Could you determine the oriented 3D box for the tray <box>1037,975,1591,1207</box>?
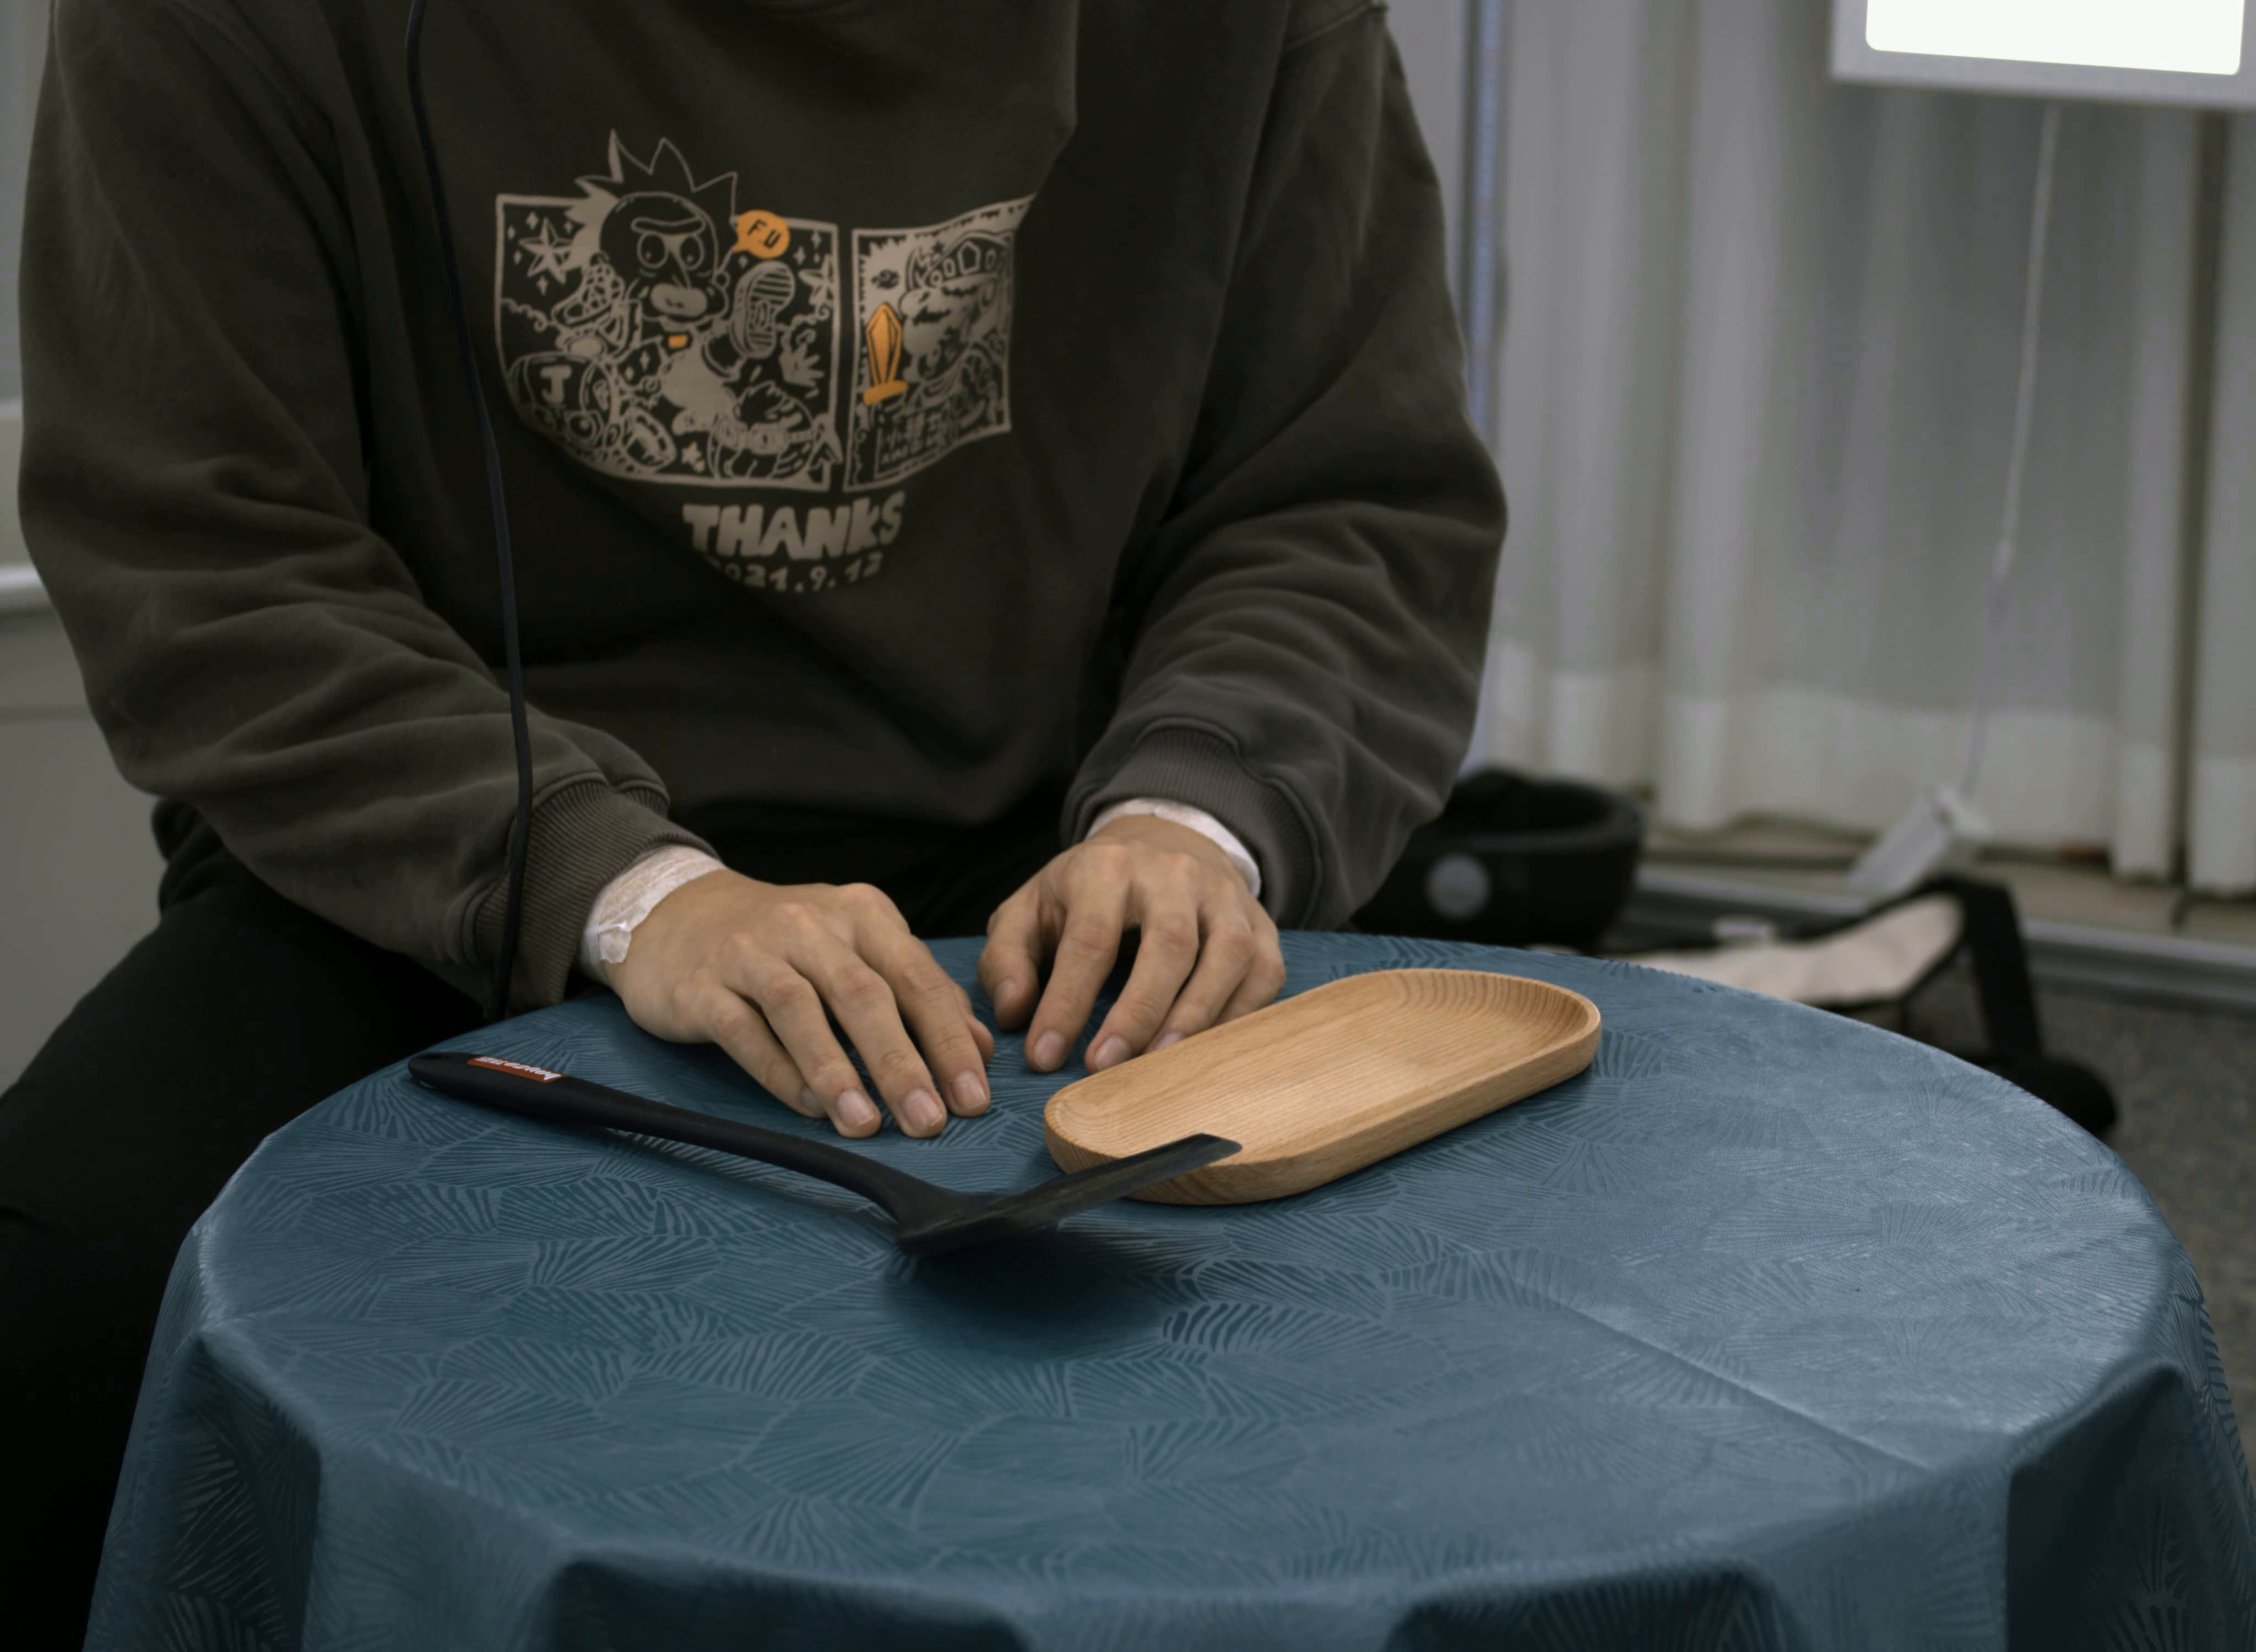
[{"bbox_3d":[0.063,0.084,1.705,0.100,0.020,0.232,12,20,37],"label":"tray"}]

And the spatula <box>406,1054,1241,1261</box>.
[{"bbox_3d":[-0.113,0.093,1.628,0.322,0.040,0.100,13,19,39],"label":"spatula"}]
